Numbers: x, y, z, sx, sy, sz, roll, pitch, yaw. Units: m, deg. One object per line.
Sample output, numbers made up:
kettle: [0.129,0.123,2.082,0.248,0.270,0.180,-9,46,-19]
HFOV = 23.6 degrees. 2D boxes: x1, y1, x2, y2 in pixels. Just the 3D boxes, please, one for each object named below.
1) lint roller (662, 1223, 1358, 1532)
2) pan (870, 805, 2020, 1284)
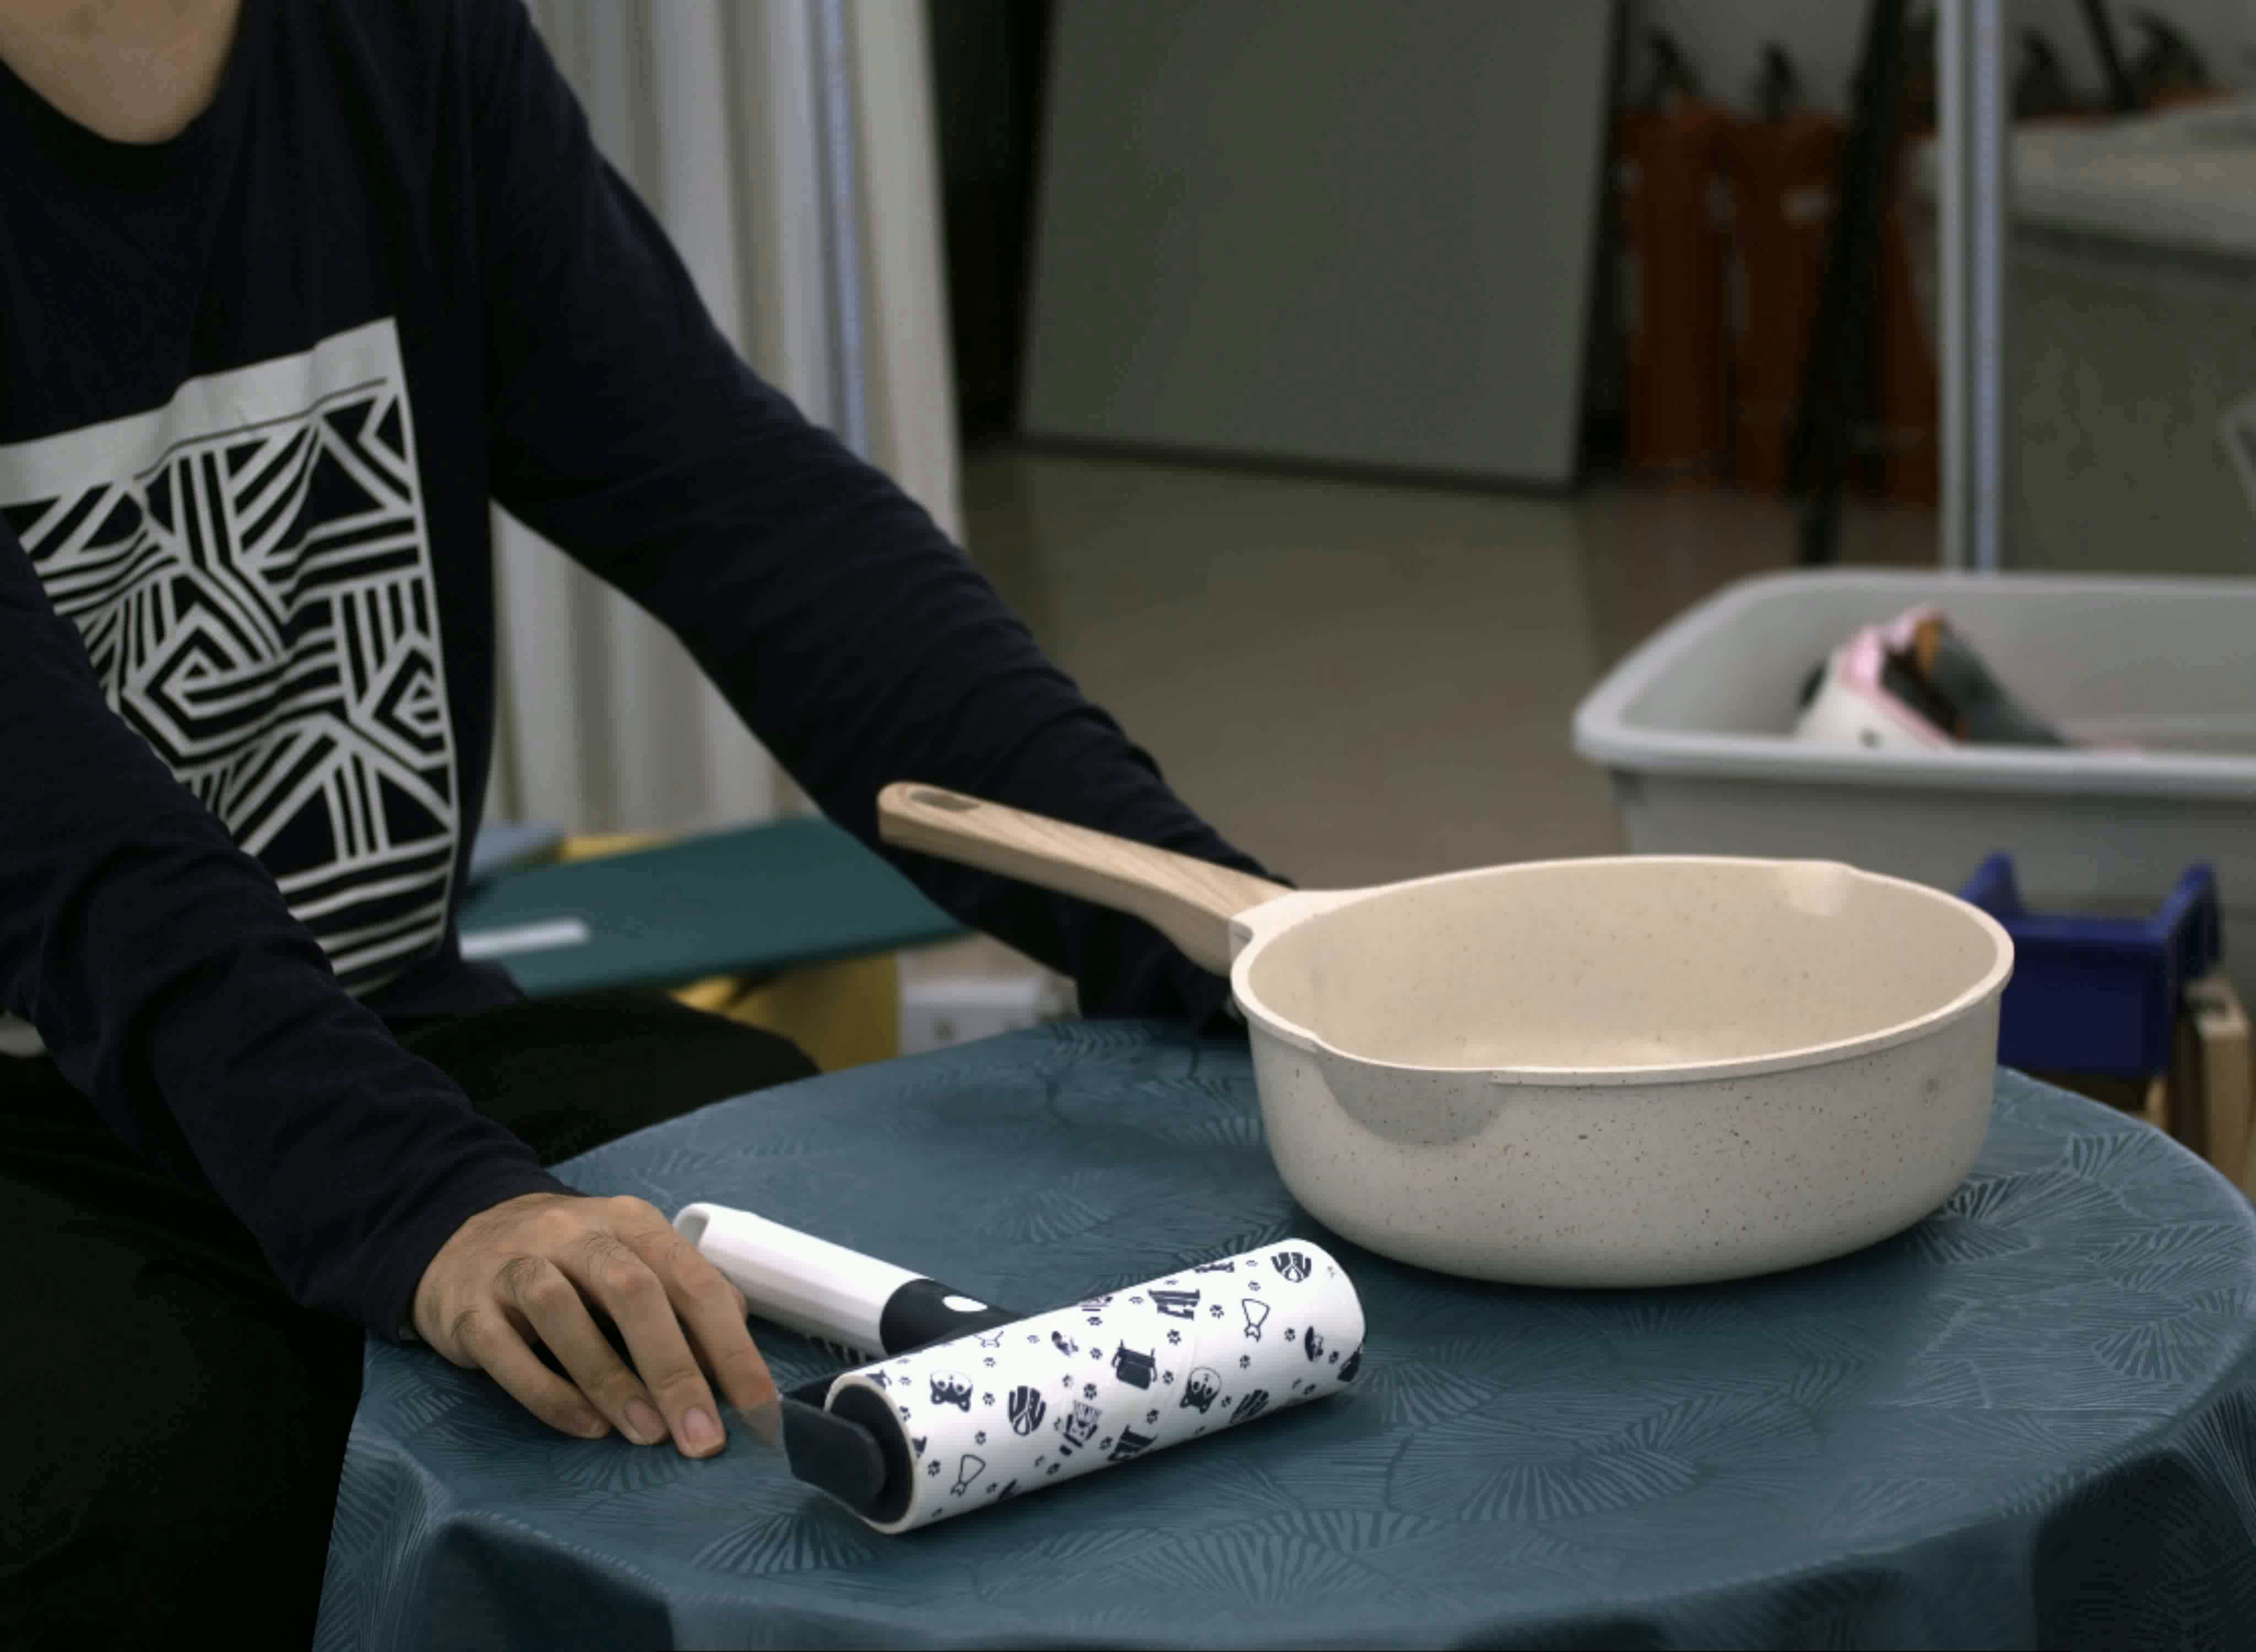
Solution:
lint roller: [-0.071,0.145,1.609,0.172,0.051,0.249,-15,15,-34]
pan: [0.089,0.062,1.782,0.438,0.103,0.258,7,18,38]
